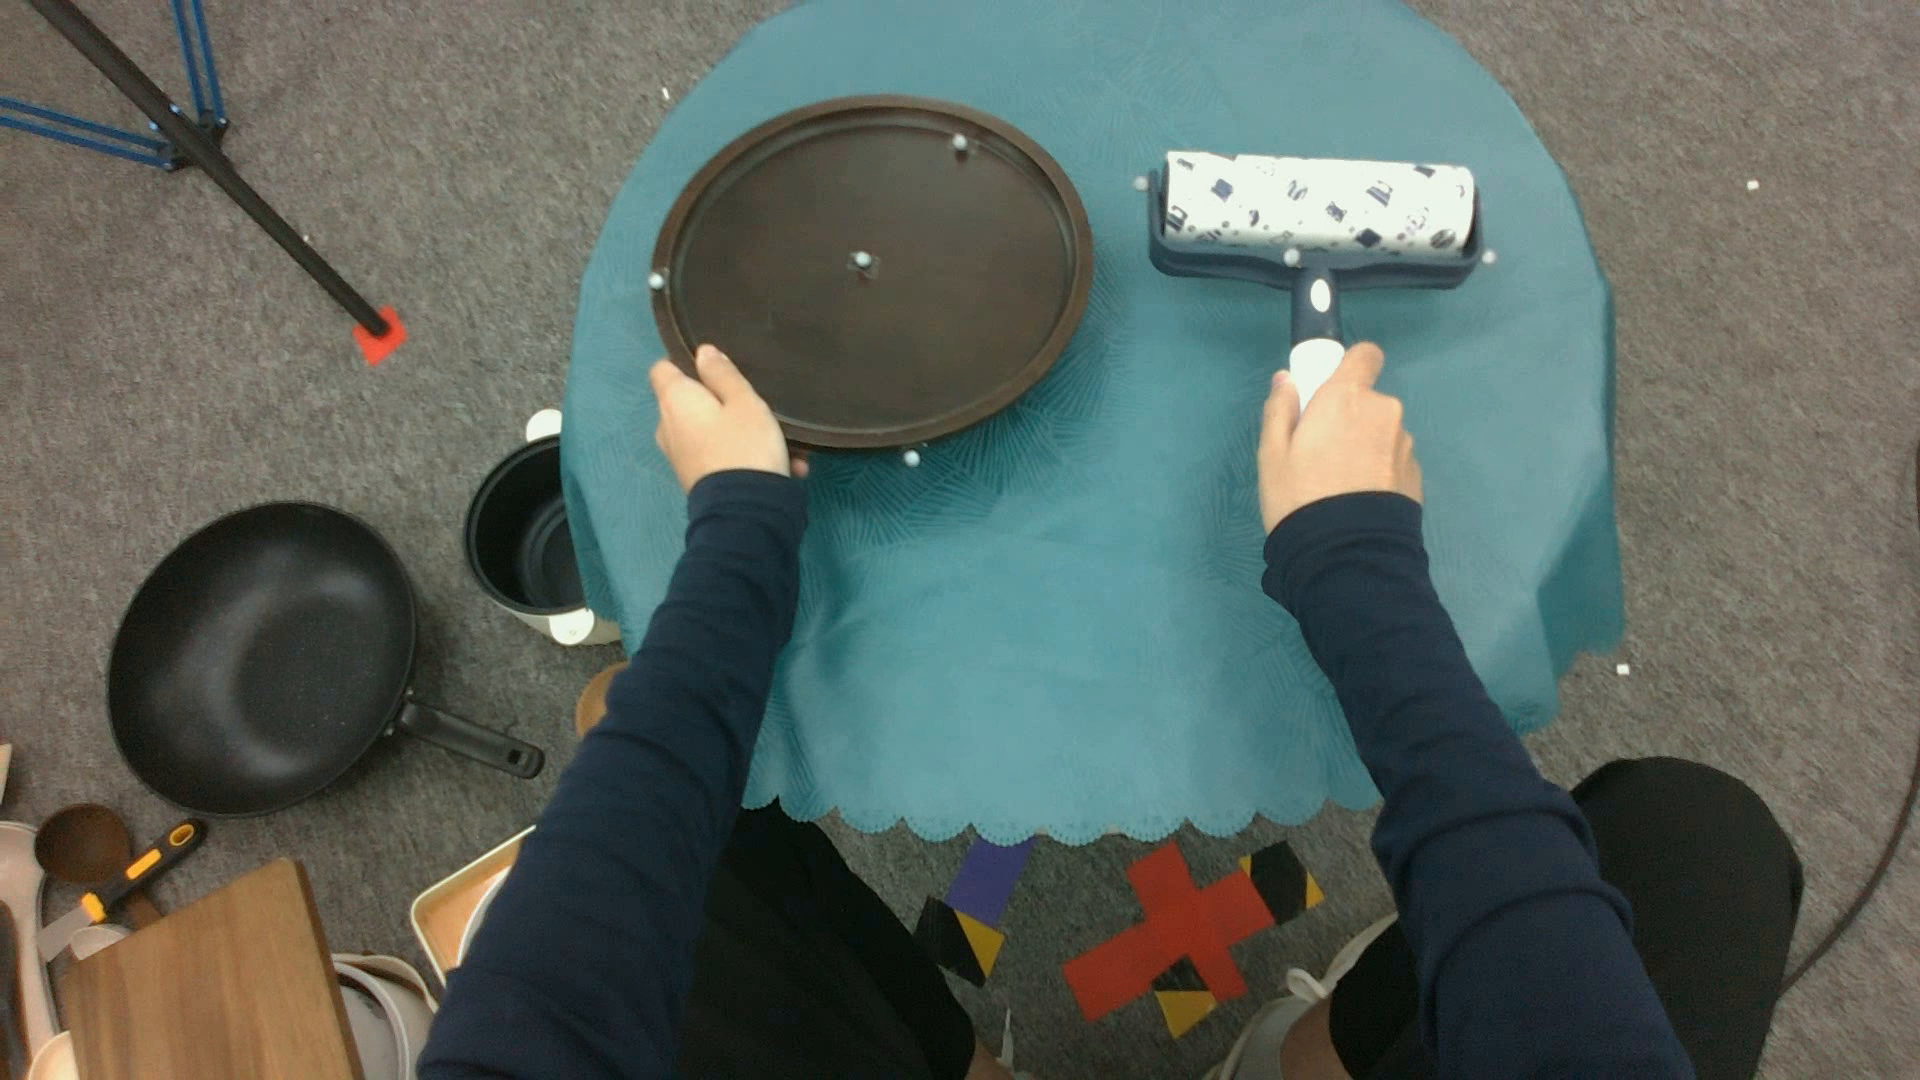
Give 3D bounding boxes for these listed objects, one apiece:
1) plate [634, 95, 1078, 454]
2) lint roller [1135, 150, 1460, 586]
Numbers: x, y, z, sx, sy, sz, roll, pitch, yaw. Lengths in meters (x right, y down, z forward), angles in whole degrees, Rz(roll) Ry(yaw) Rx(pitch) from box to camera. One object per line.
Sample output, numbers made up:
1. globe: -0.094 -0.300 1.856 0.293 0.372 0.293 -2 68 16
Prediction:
1. plate: -0.059 -0.157 0.790 0.255 0.029 0.256 -1 62 2
2. lint roller: 0.179 -0.096 0.723 0.176 0.050 0.248 4 66 1
